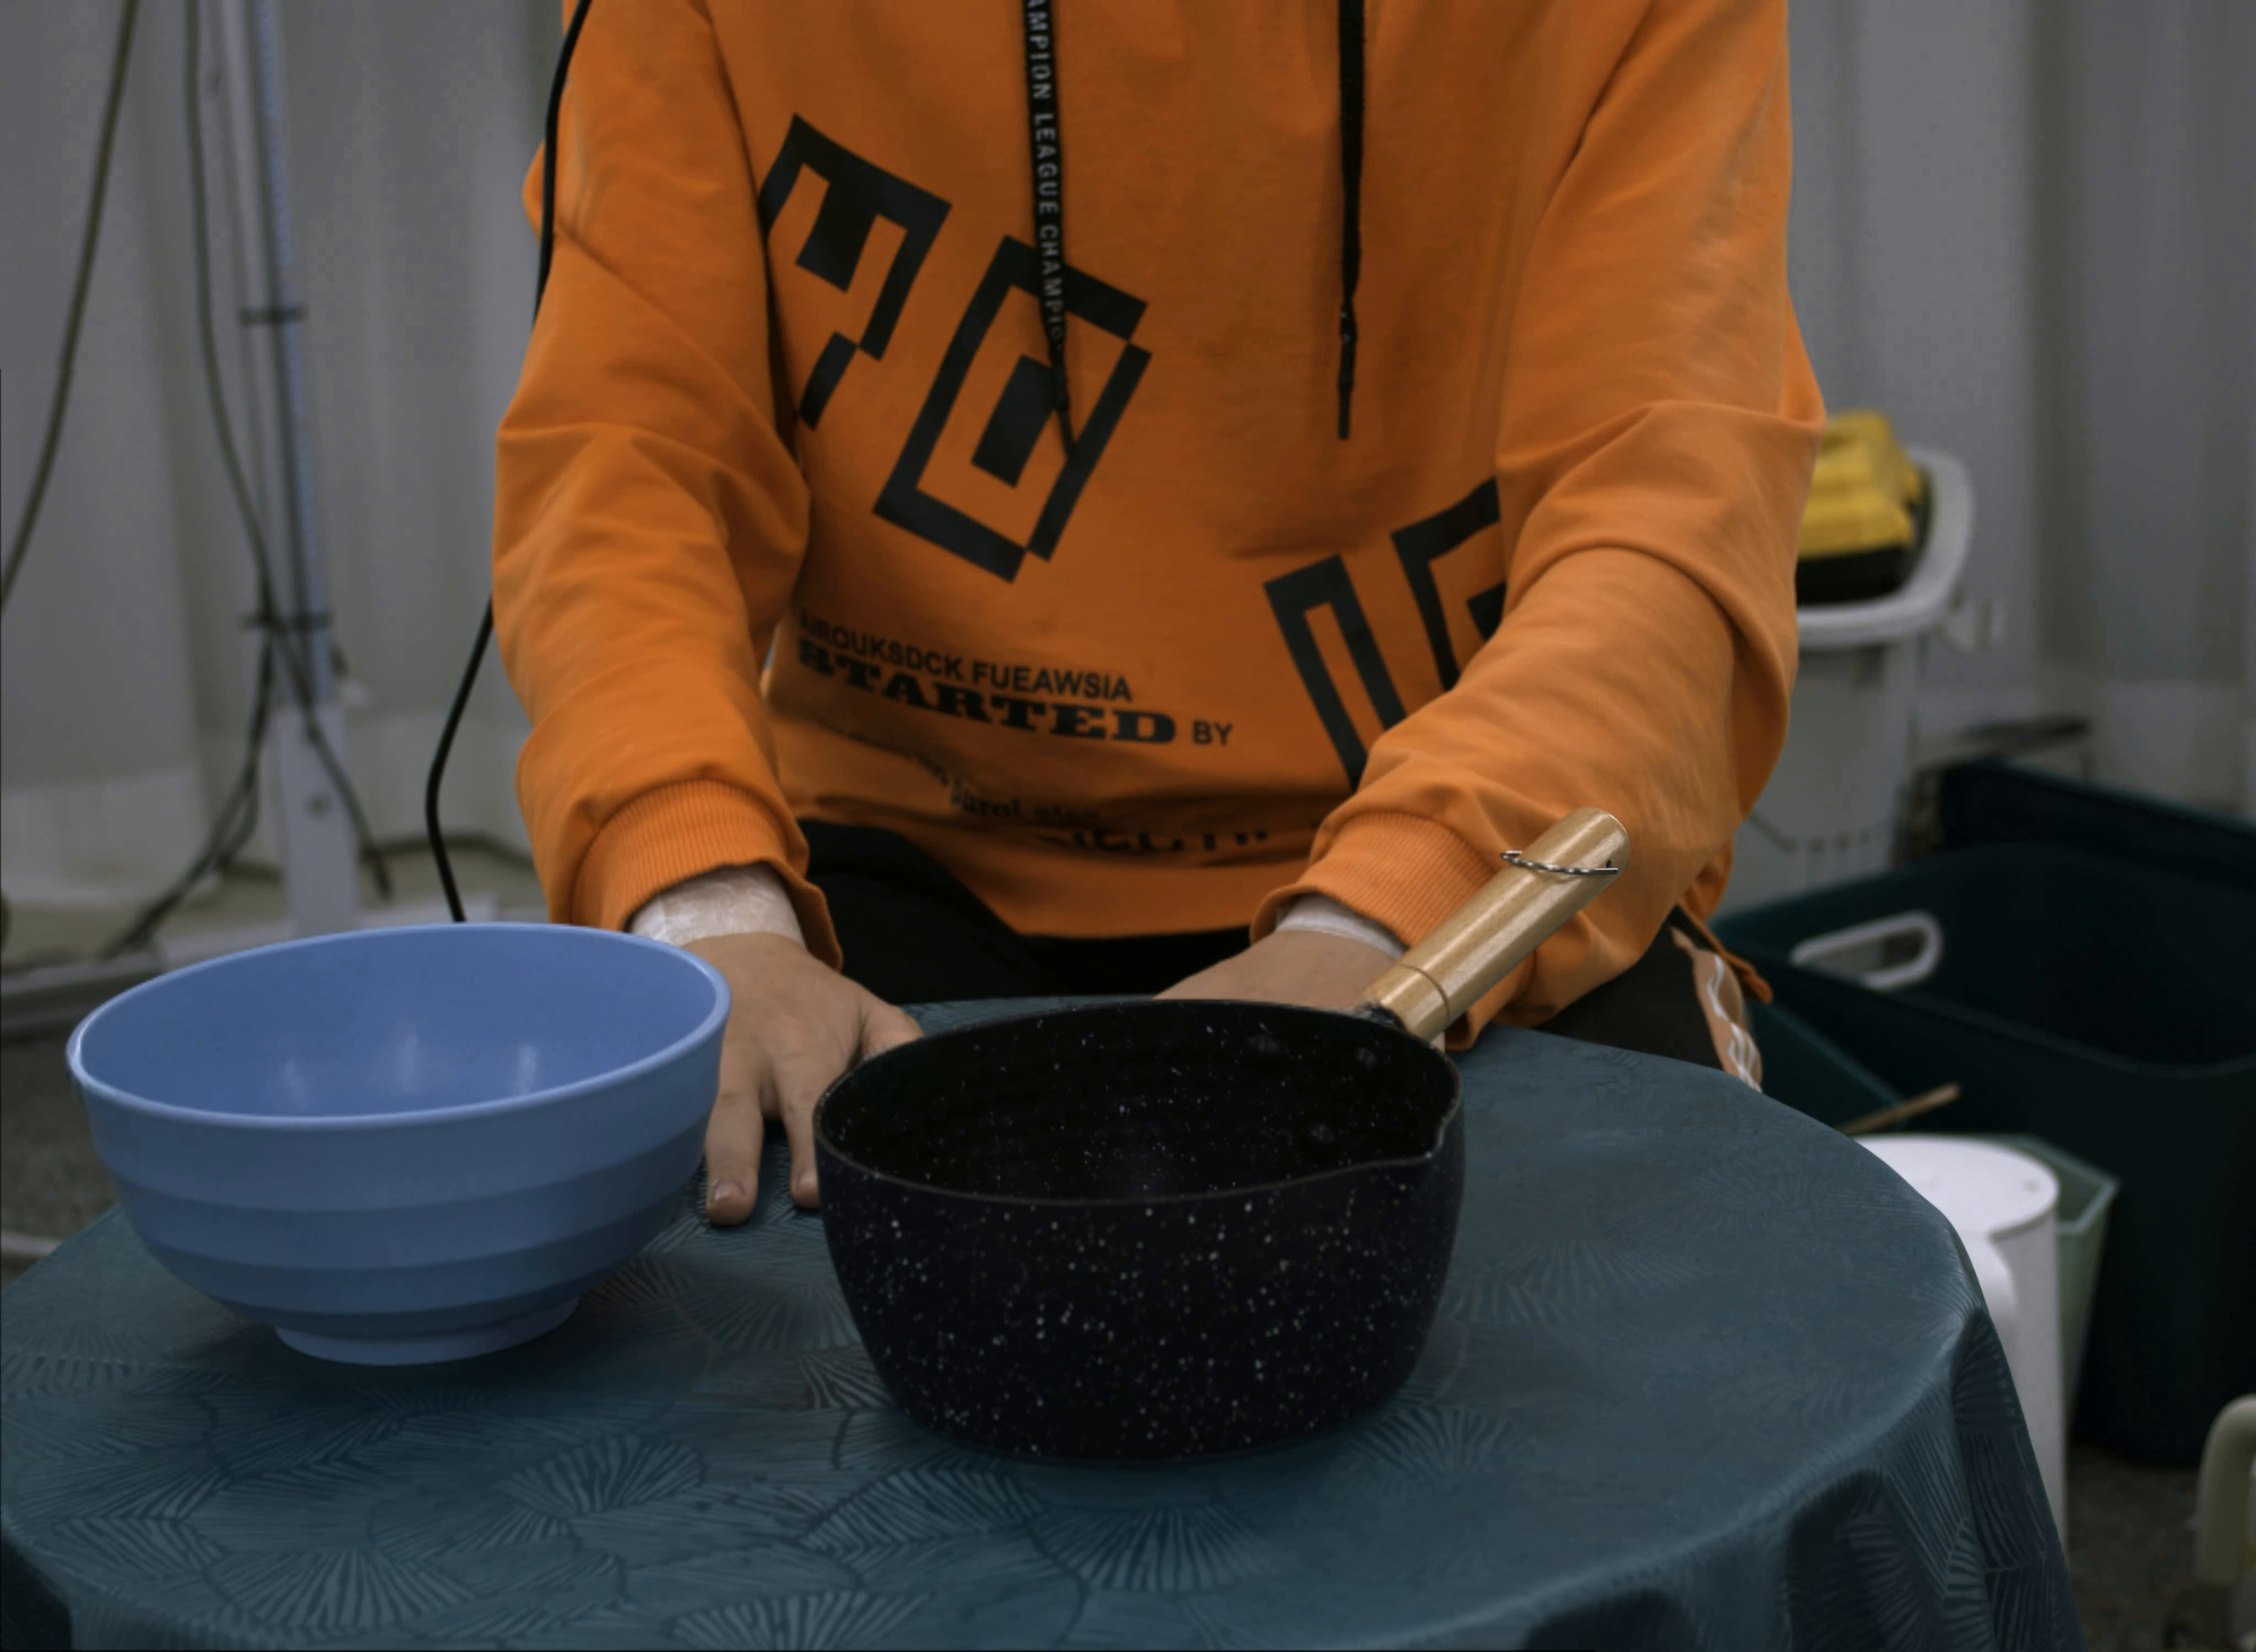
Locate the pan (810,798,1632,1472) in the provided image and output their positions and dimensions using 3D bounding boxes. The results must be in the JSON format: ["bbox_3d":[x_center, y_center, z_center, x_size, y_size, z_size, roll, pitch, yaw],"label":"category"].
[{"bbox_3d":[0.050,0.086,1.607,0.208,0.108,0.343,6,19,35],"label":"pan"}]

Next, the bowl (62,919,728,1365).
[{"bbox_3d":[-0.213,0.100,1.628,0.196,0.095,0.198,-4,15,1],"label":"bowl"}]
